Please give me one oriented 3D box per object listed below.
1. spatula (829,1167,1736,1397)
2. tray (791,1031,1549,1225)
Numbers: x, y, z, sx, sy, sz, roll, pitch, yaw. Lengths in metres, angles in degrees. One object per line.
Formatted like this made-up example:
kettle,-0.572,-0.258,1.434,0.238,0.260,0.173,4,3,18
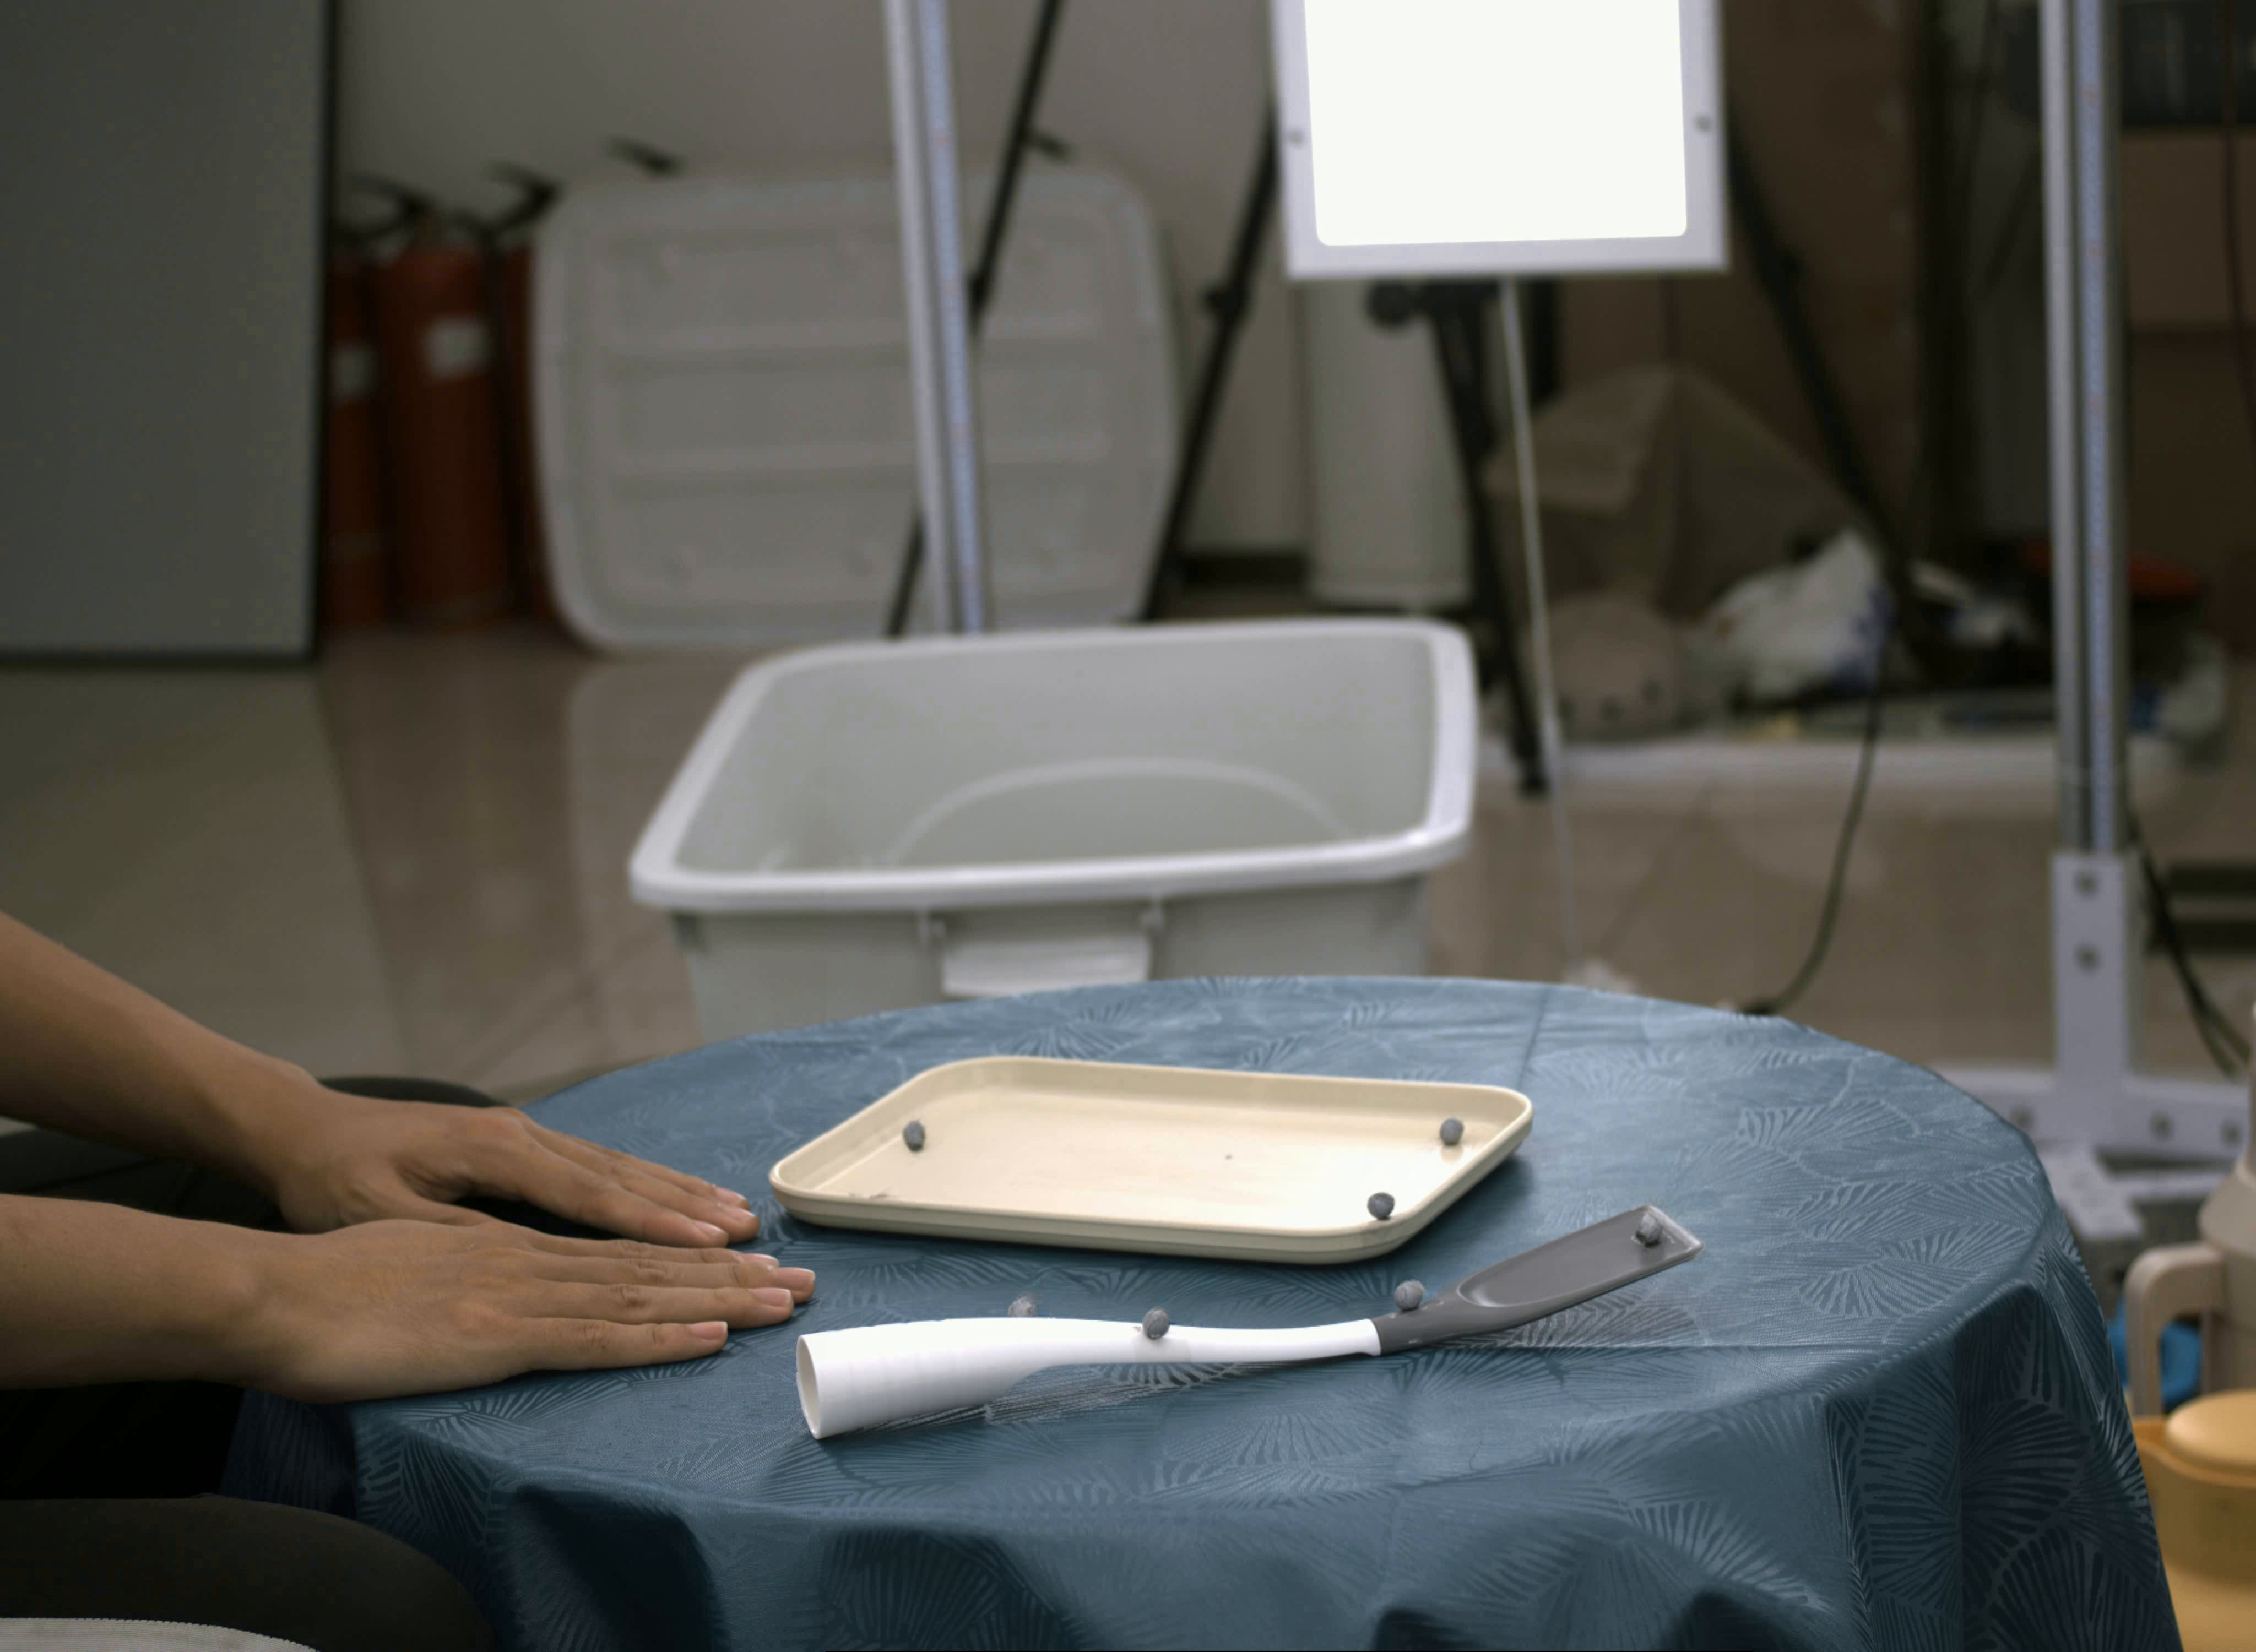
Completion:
spatula,0.050,0.141,1.717,0.284,0.032,0.059,-8,10,-11
tray,0.016,0.105,1.917,0.244,0.017,0.168,2,14,27
